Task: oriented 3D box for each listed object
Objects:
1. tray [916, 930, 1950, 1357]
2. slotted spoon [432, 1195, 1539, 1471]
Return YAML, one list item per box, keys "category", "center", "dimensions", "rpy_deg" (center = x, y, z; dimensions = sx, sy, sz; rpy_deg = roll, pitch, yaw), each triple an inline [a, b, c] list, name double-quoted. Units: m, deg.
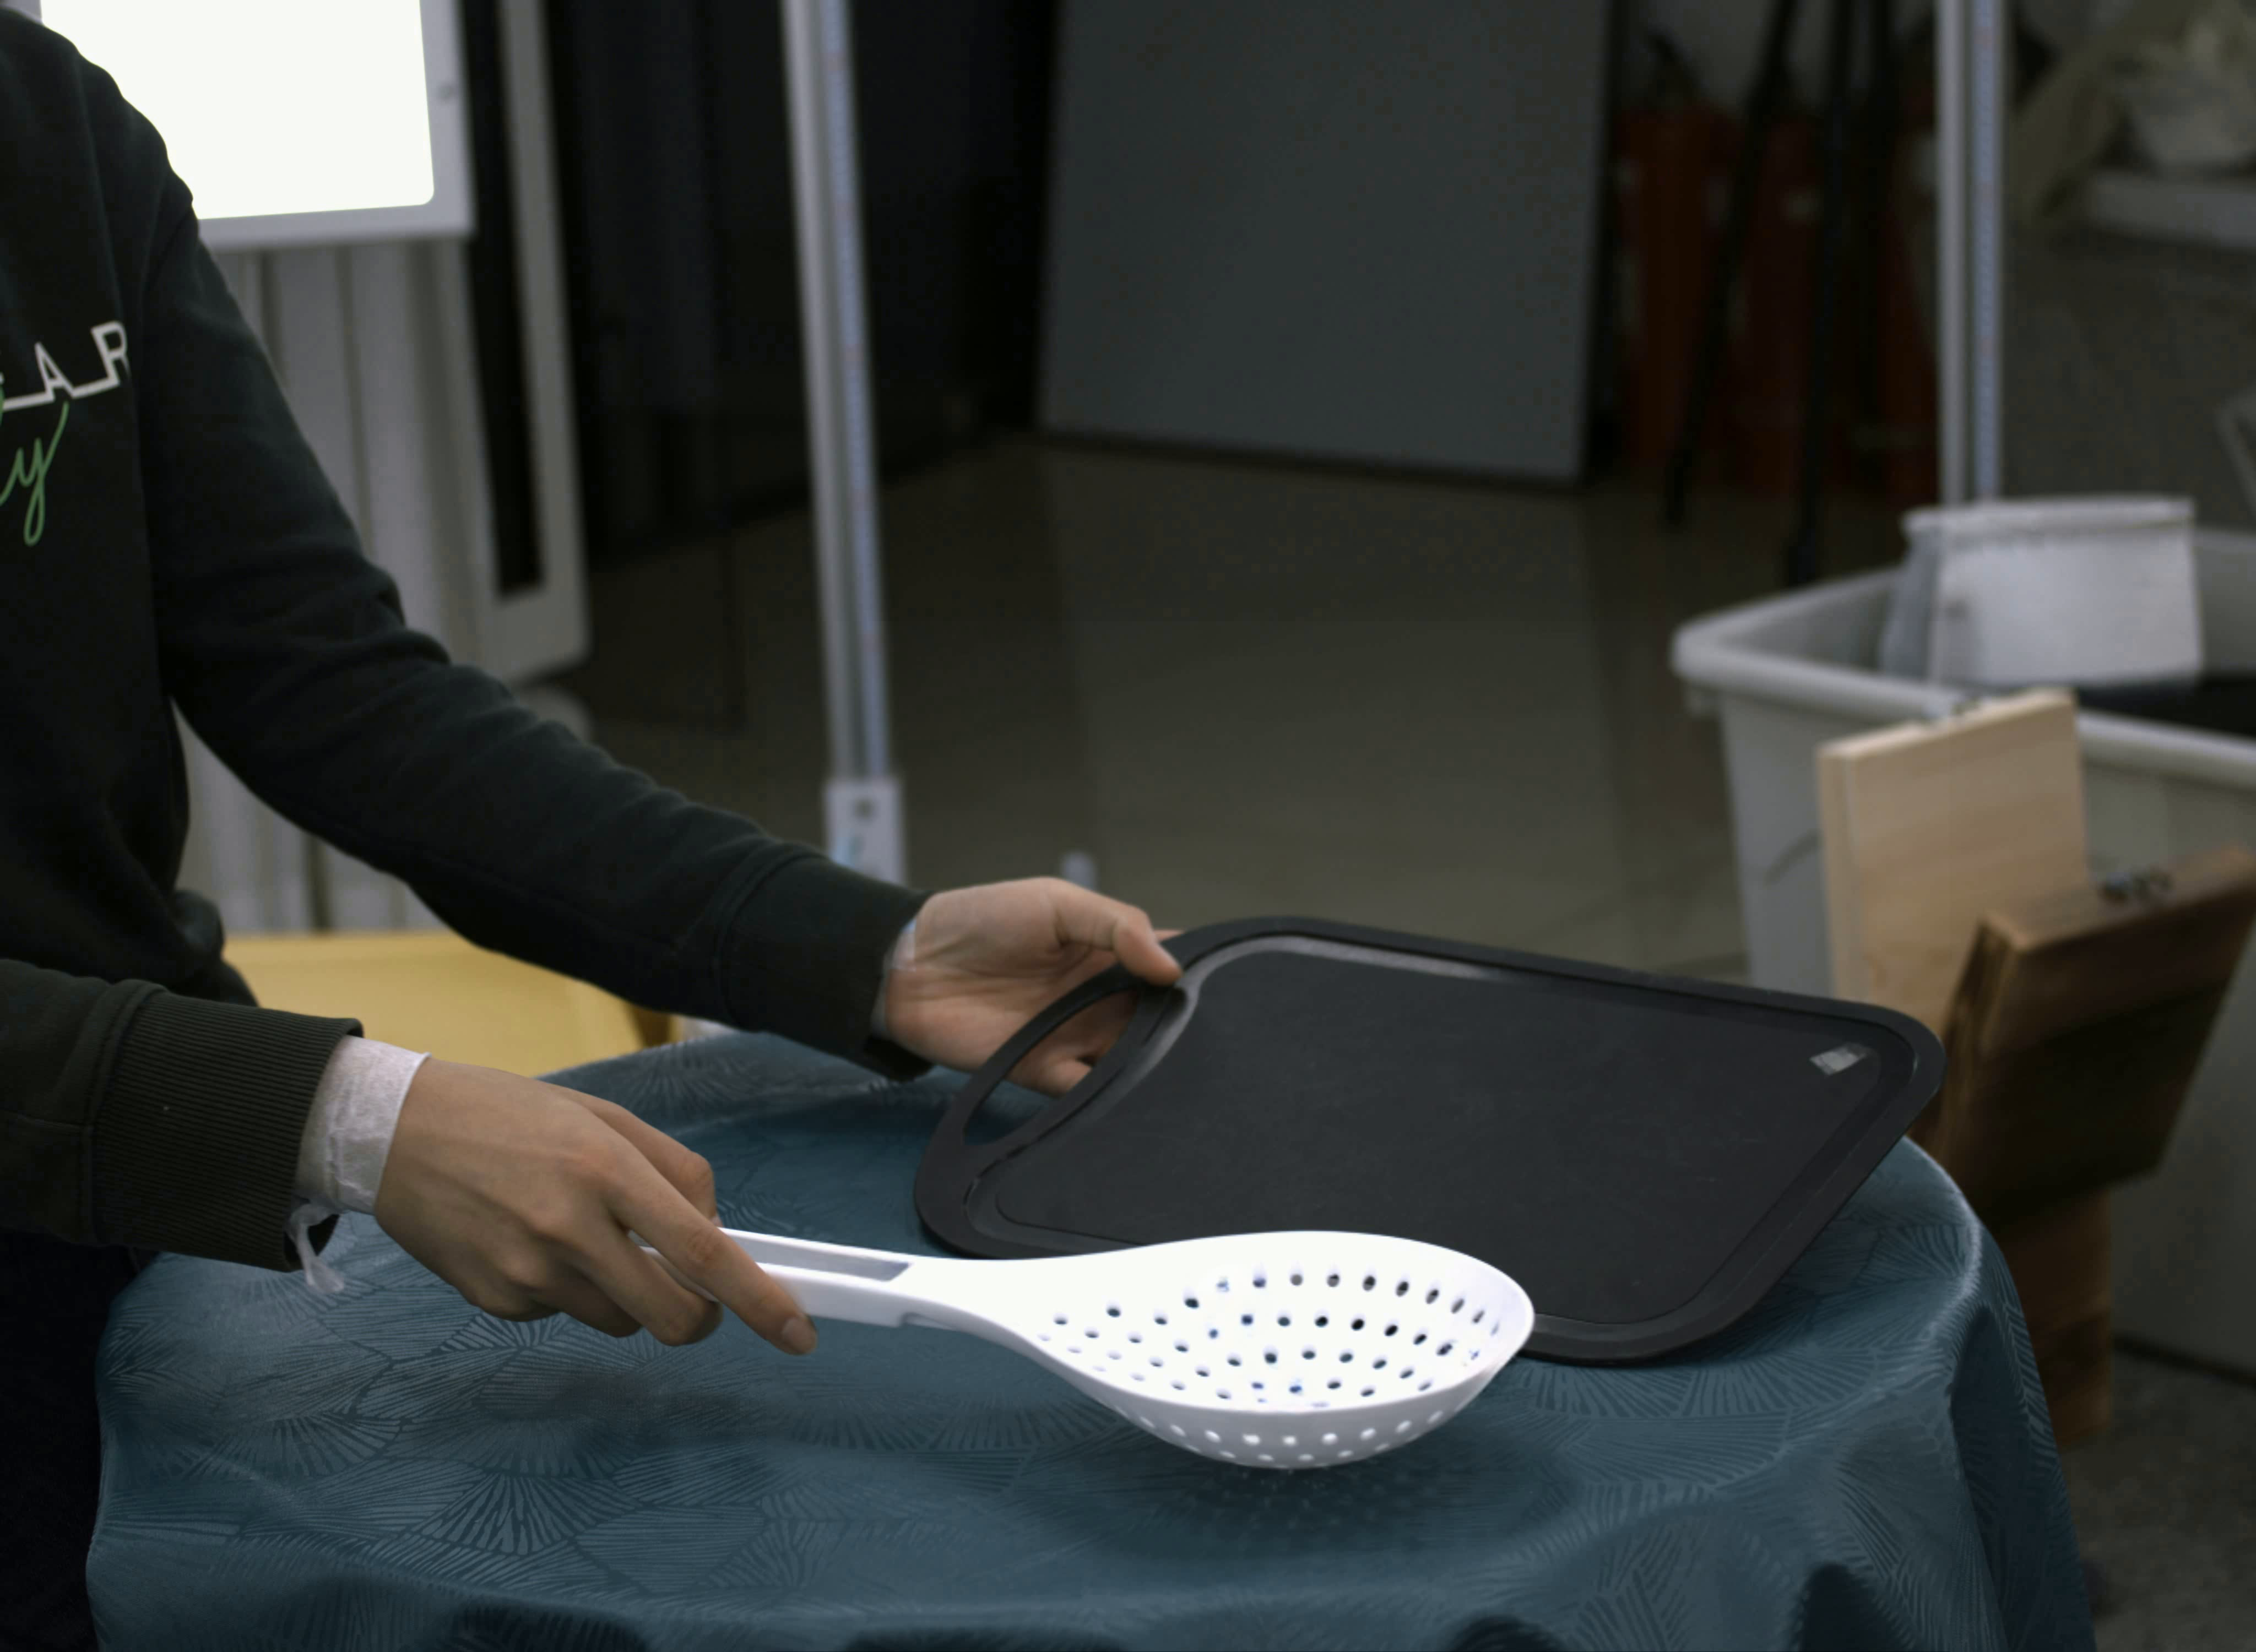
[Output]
- category: "tray"
  center: [0.088, 0.095, 1.723]
  dimensions: [0.327, 0.010, 0.208]
  rpy_deg: [6, 33, 35]
- category: "slotted spoon"
  center: [-0.048, 0.136, 1.560]
  dimensions: [0.350, 0.046, 0.134]
  rpy_deg: [10, 19, 24]
